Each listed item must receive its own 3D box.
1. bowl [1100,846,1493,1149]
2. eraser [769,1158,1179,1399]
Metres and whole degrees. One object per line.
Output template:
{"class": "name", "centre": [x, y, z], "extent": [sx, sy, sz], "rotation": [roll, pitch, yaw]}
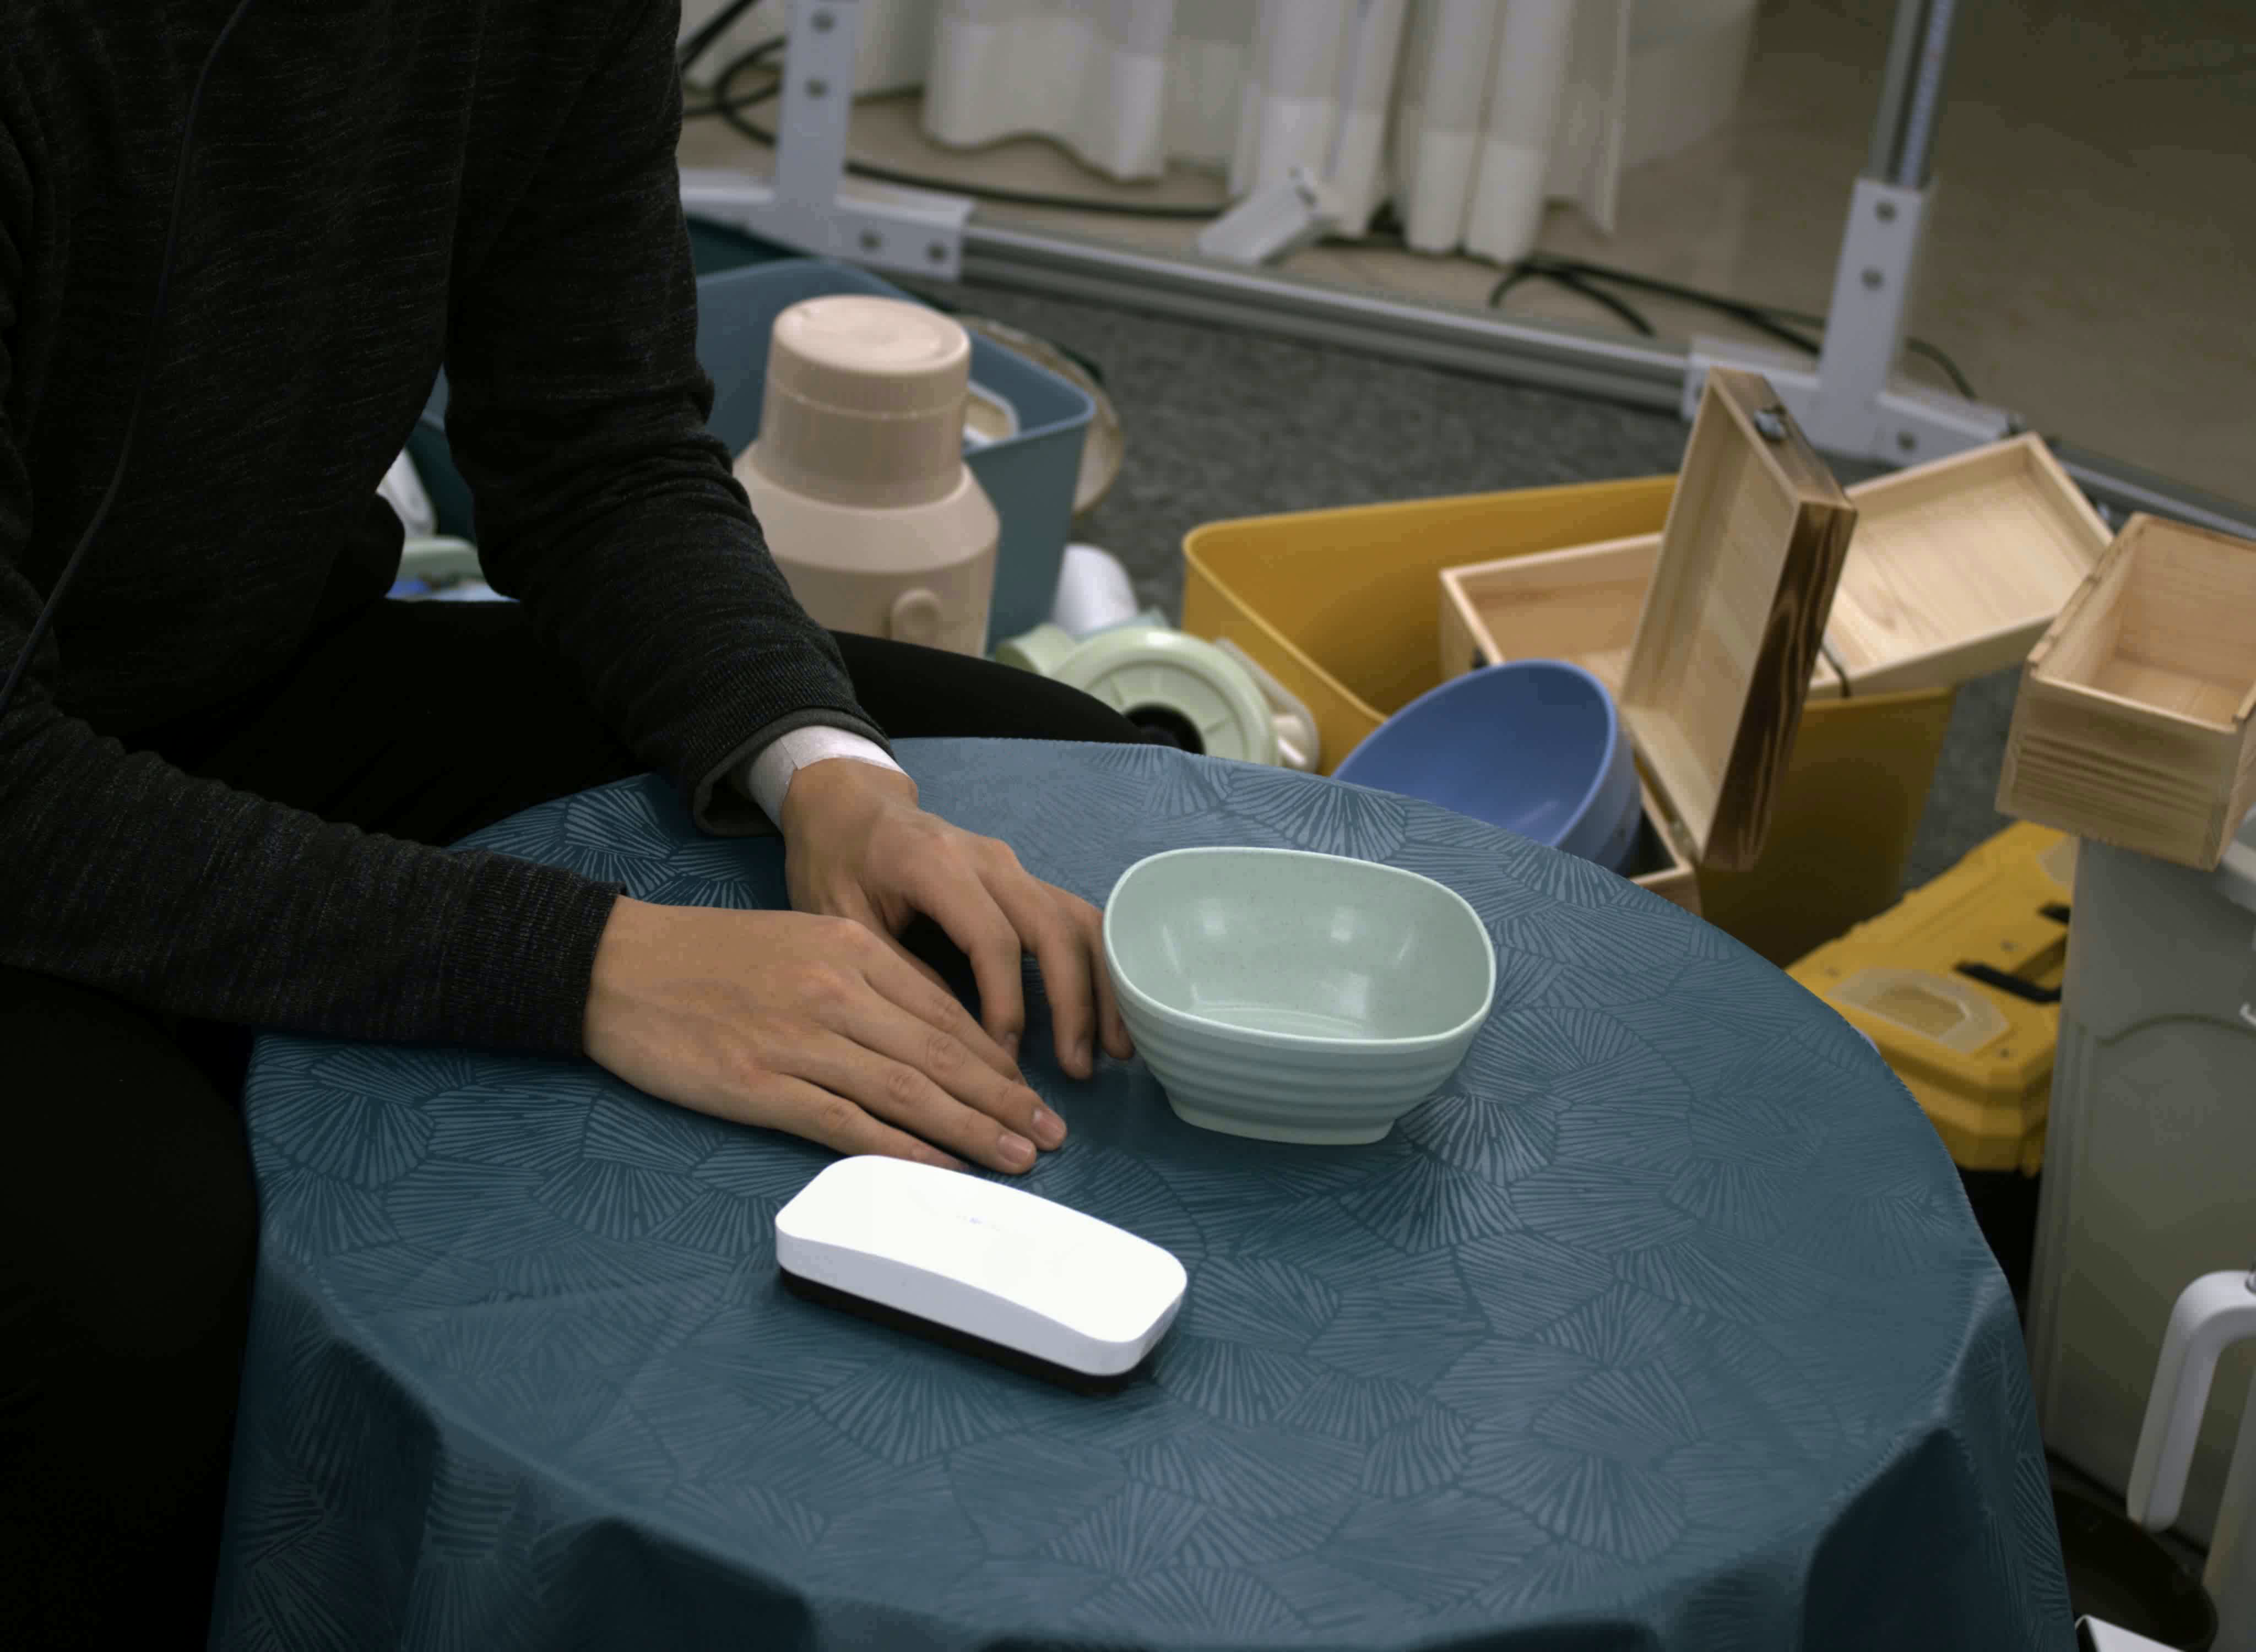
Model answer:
{"class": "bowl", "centre": [0.055, 0.066, 1.867], "extent": [0.151, 0.058, 0.152], "rotation": [7, 27, -4]}
{"class": "eraser", "centre": [-0.050, 0.143, 1.719], "extent": [0.132, 0.034, 0.063], "rotation": [18, 27, 19]}
